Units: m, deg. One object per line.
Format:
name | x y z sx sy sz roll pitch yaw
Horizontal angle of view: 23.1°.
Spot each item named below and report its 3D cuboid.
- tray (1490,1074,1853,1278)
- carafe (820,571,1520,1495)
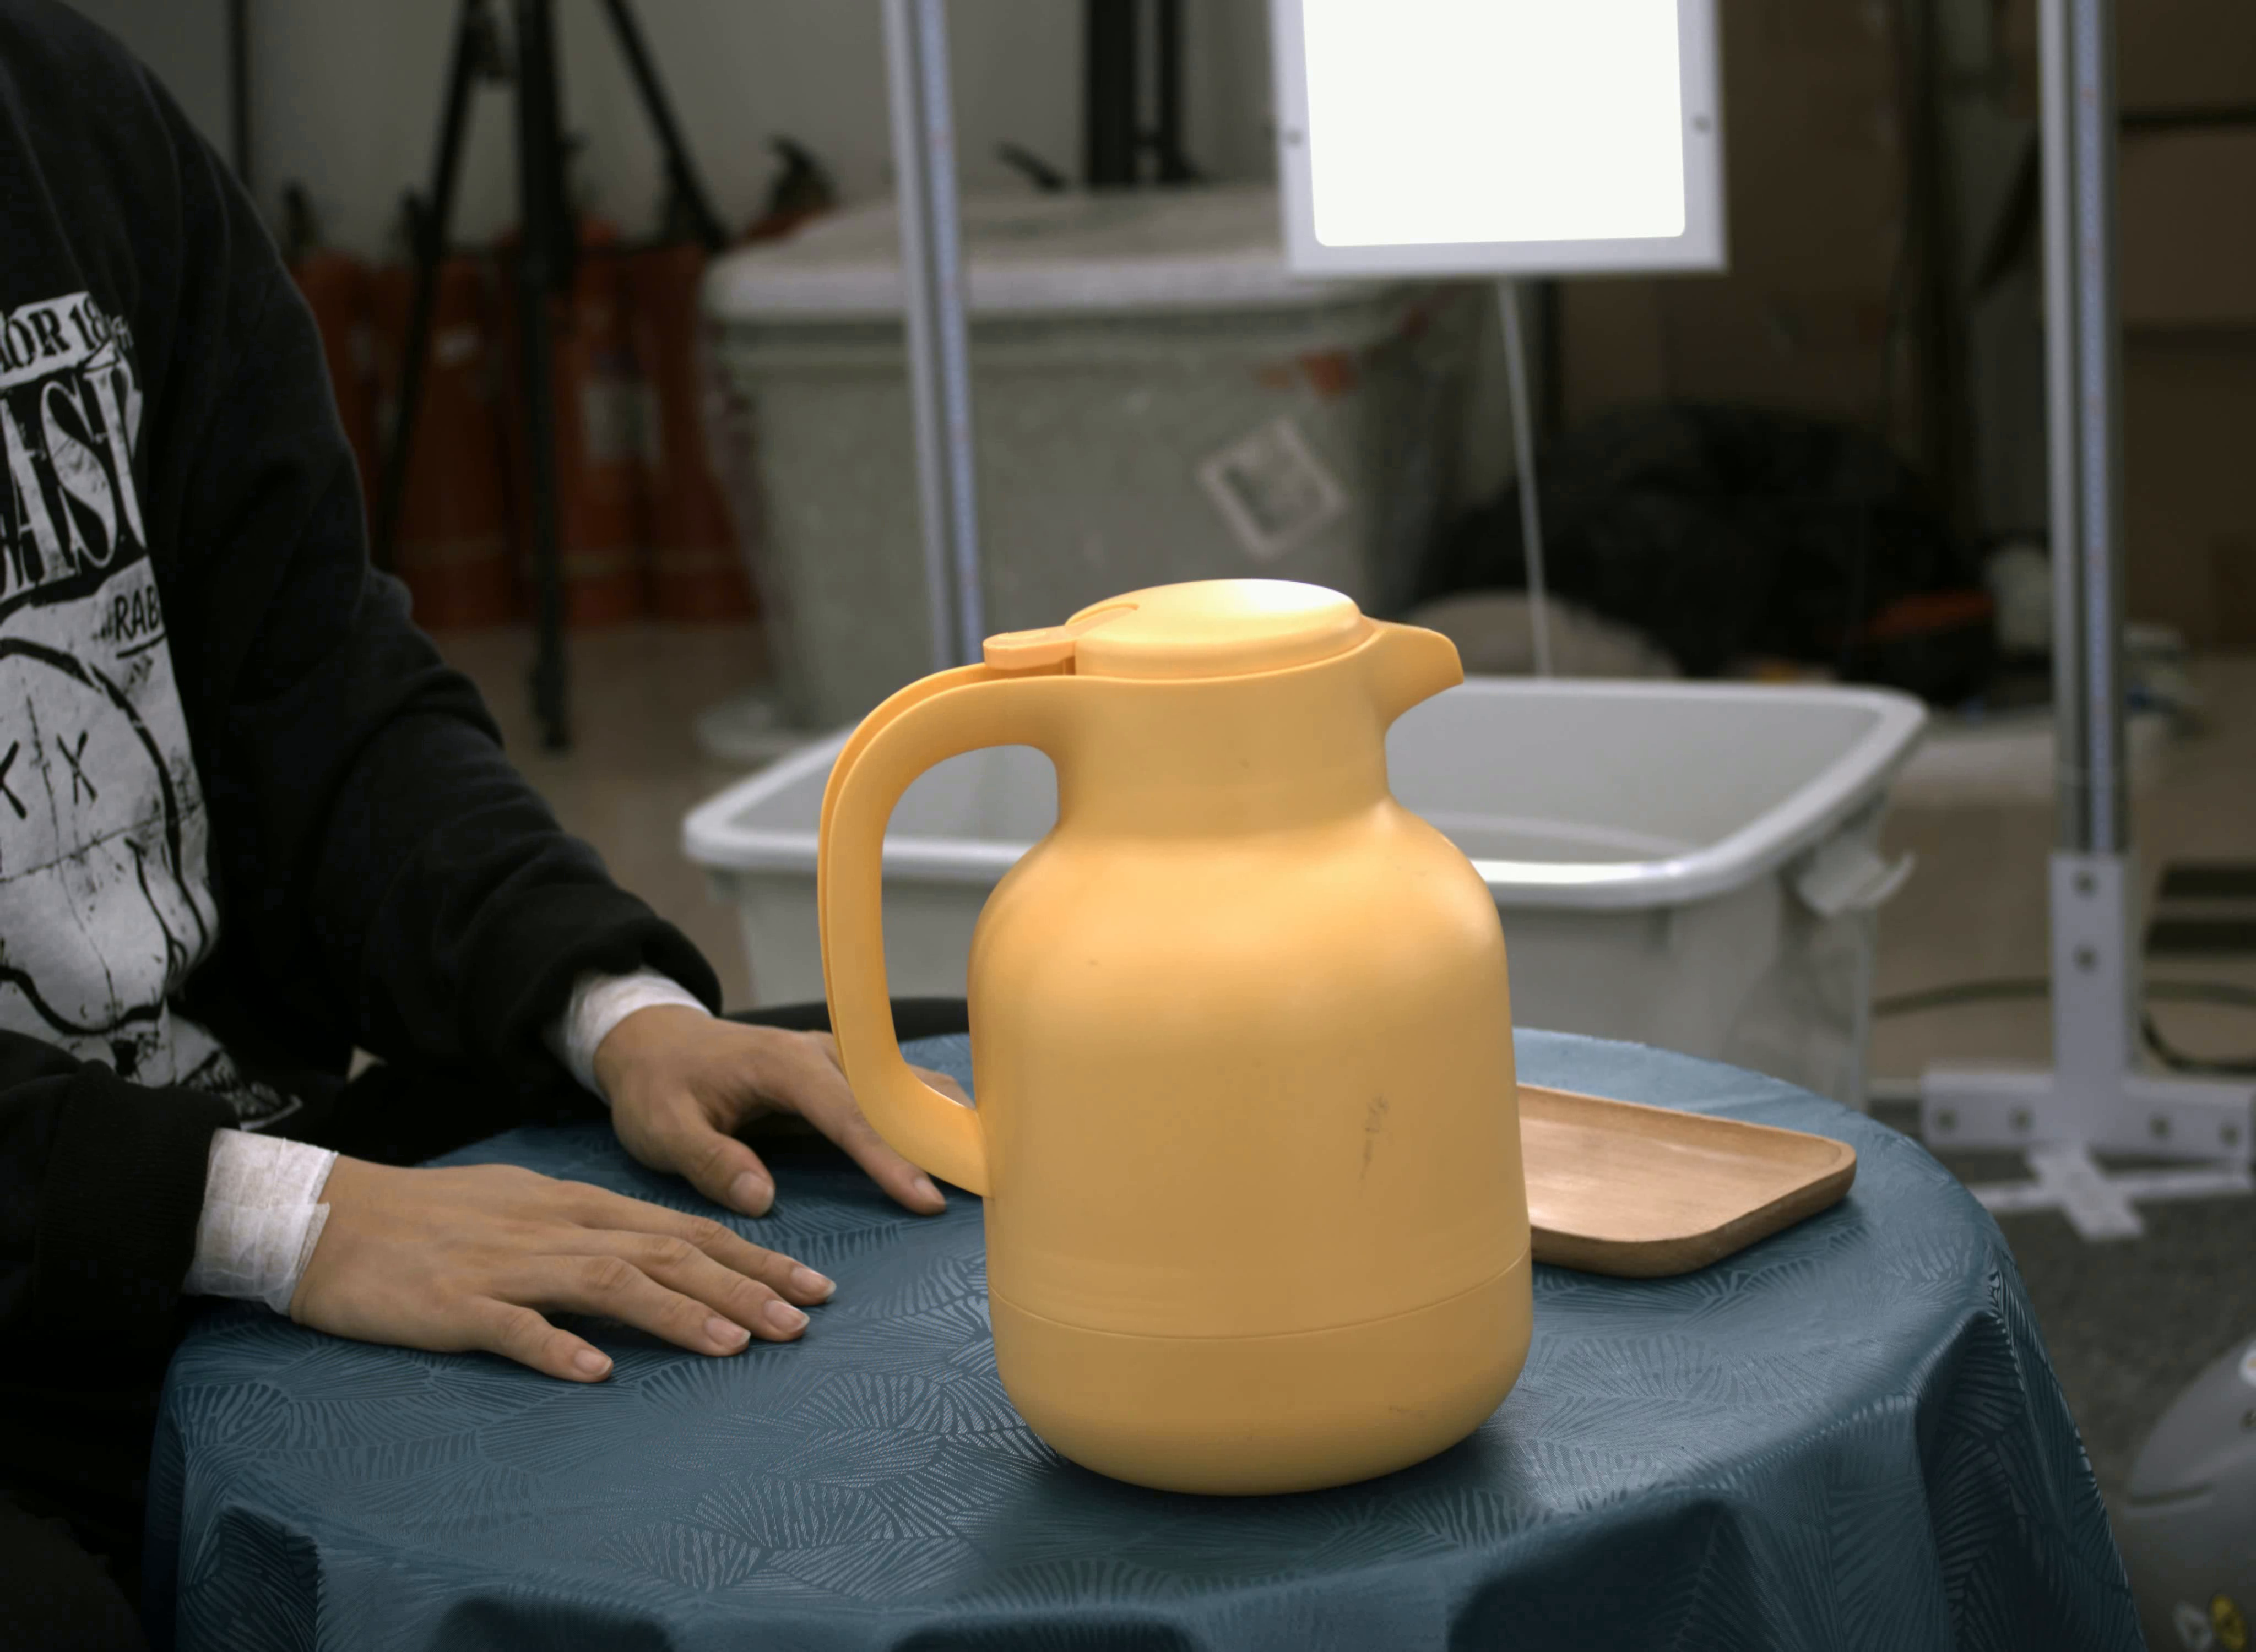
tray | 0.120 0.114 1.872 0.256 0.023 0.127 7 16 44
carafe | 0.012 0.058 1.623 0.201 0.261 0.164 -4 12 -5
